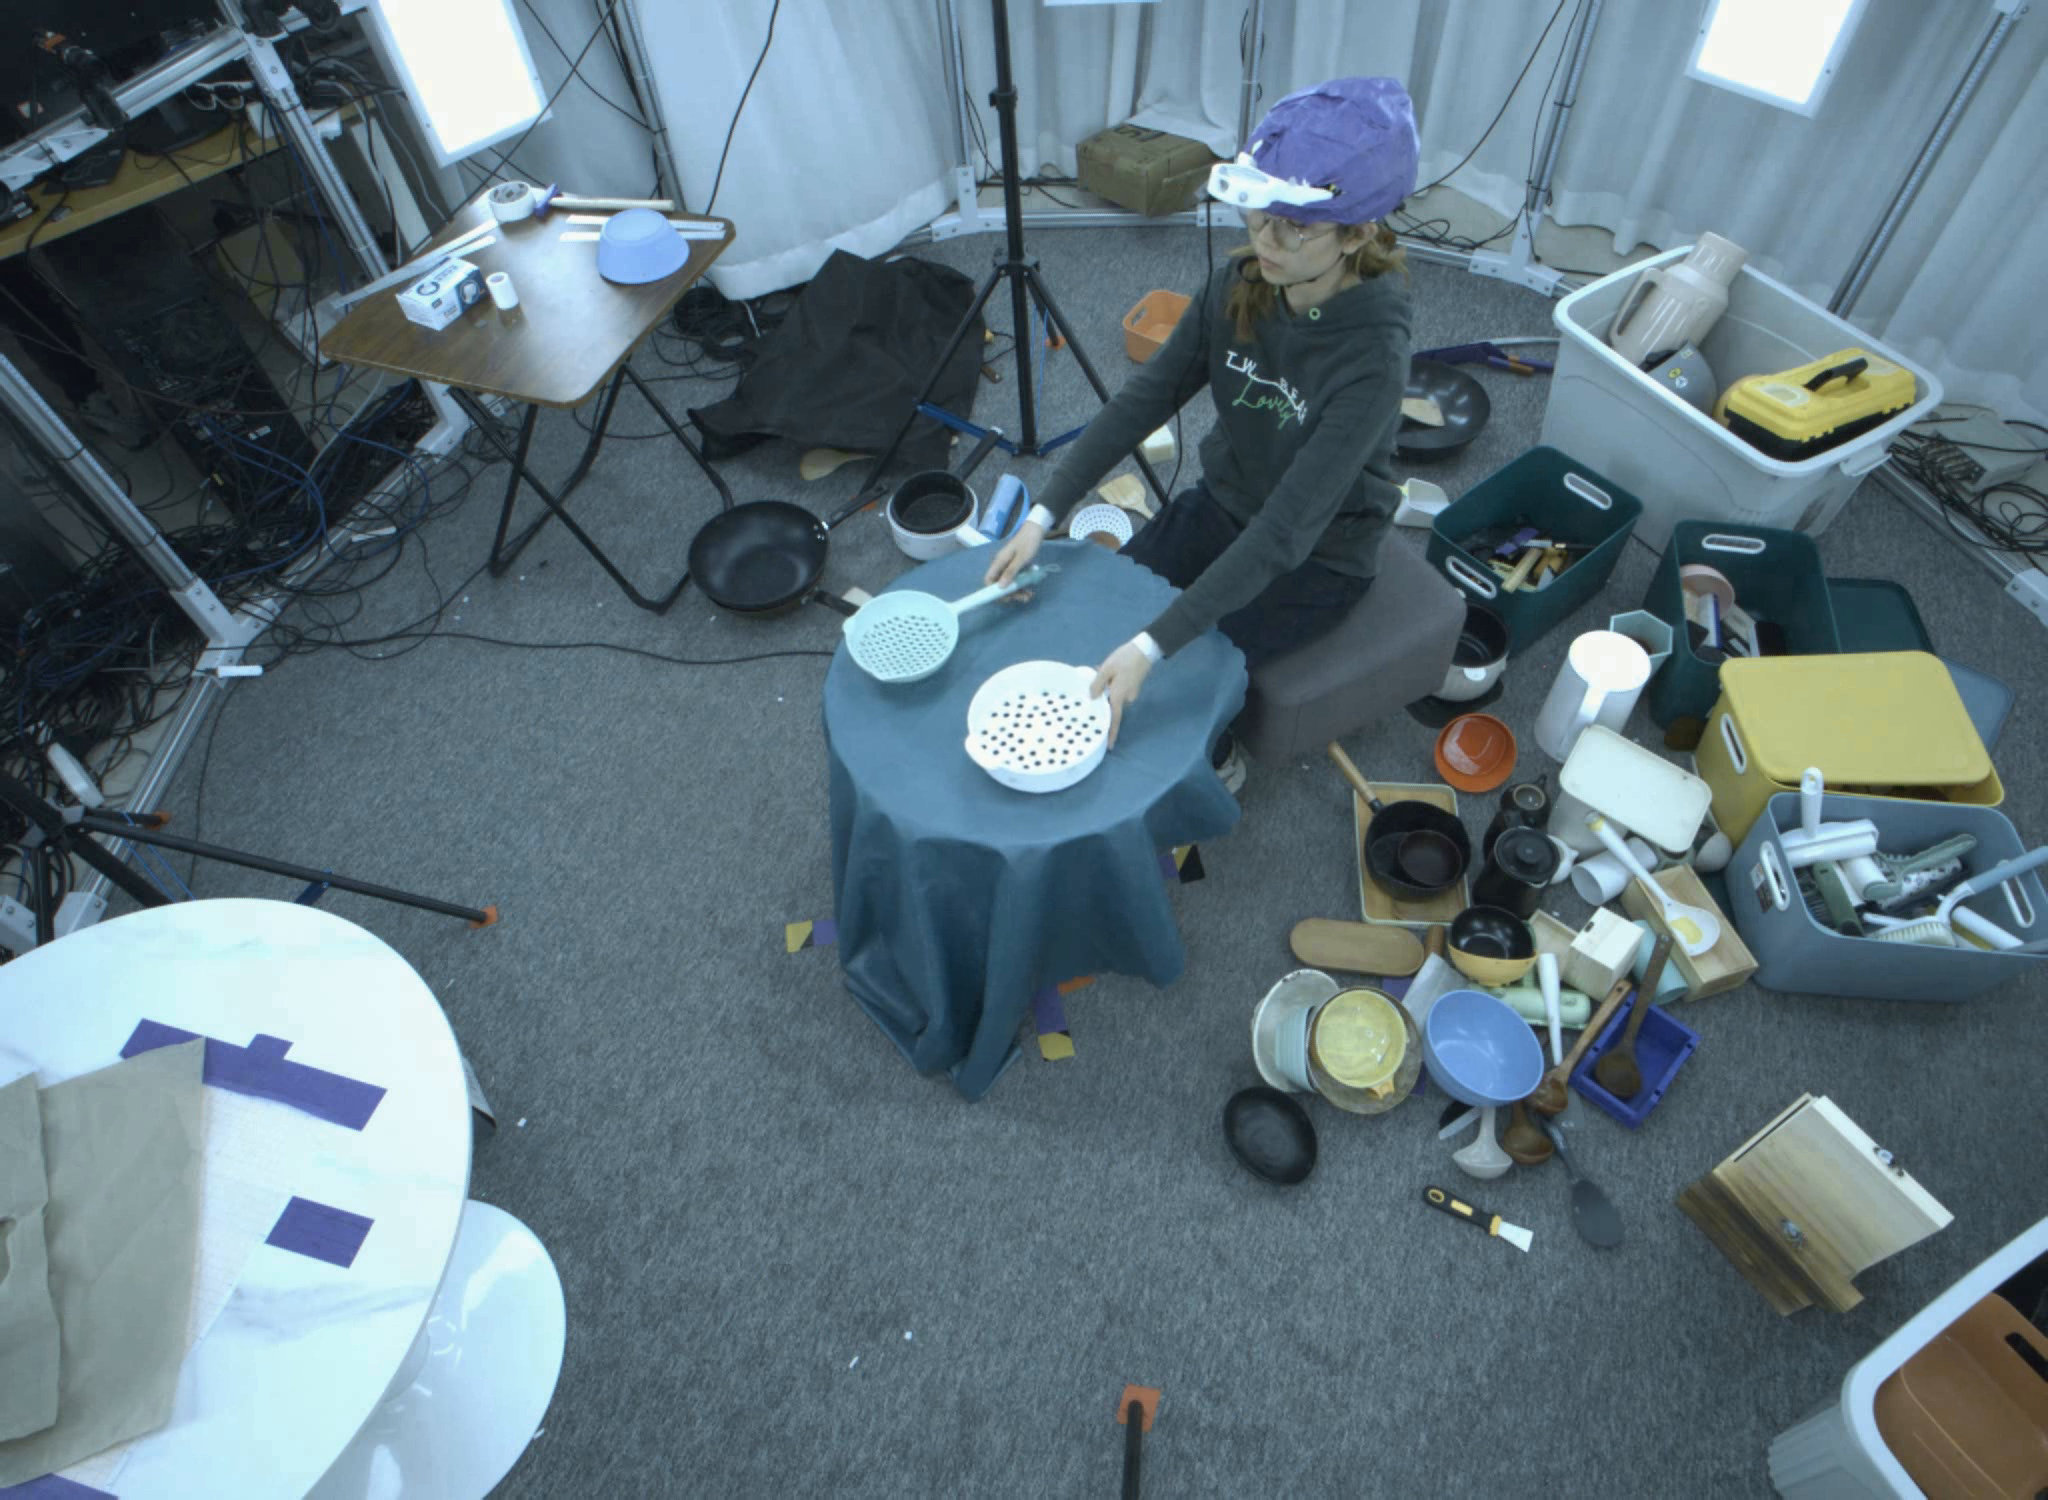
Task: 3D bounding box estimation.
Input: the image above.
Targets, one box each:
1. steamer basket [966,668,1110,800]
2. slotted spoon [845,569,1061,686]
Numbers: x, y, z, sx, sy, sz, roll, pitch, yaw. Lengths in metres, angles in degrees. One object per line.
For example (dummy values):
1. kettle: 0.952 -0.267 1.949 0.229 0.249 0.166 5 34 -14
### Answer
1. steamer basket: 0.022 -0.021 1.774 0.232 0.070 0.198 -33 62 -21
2. slotted spoon: -0.099 -0.208 1.896 0.360 0.076 0.166 -31 63 -11
